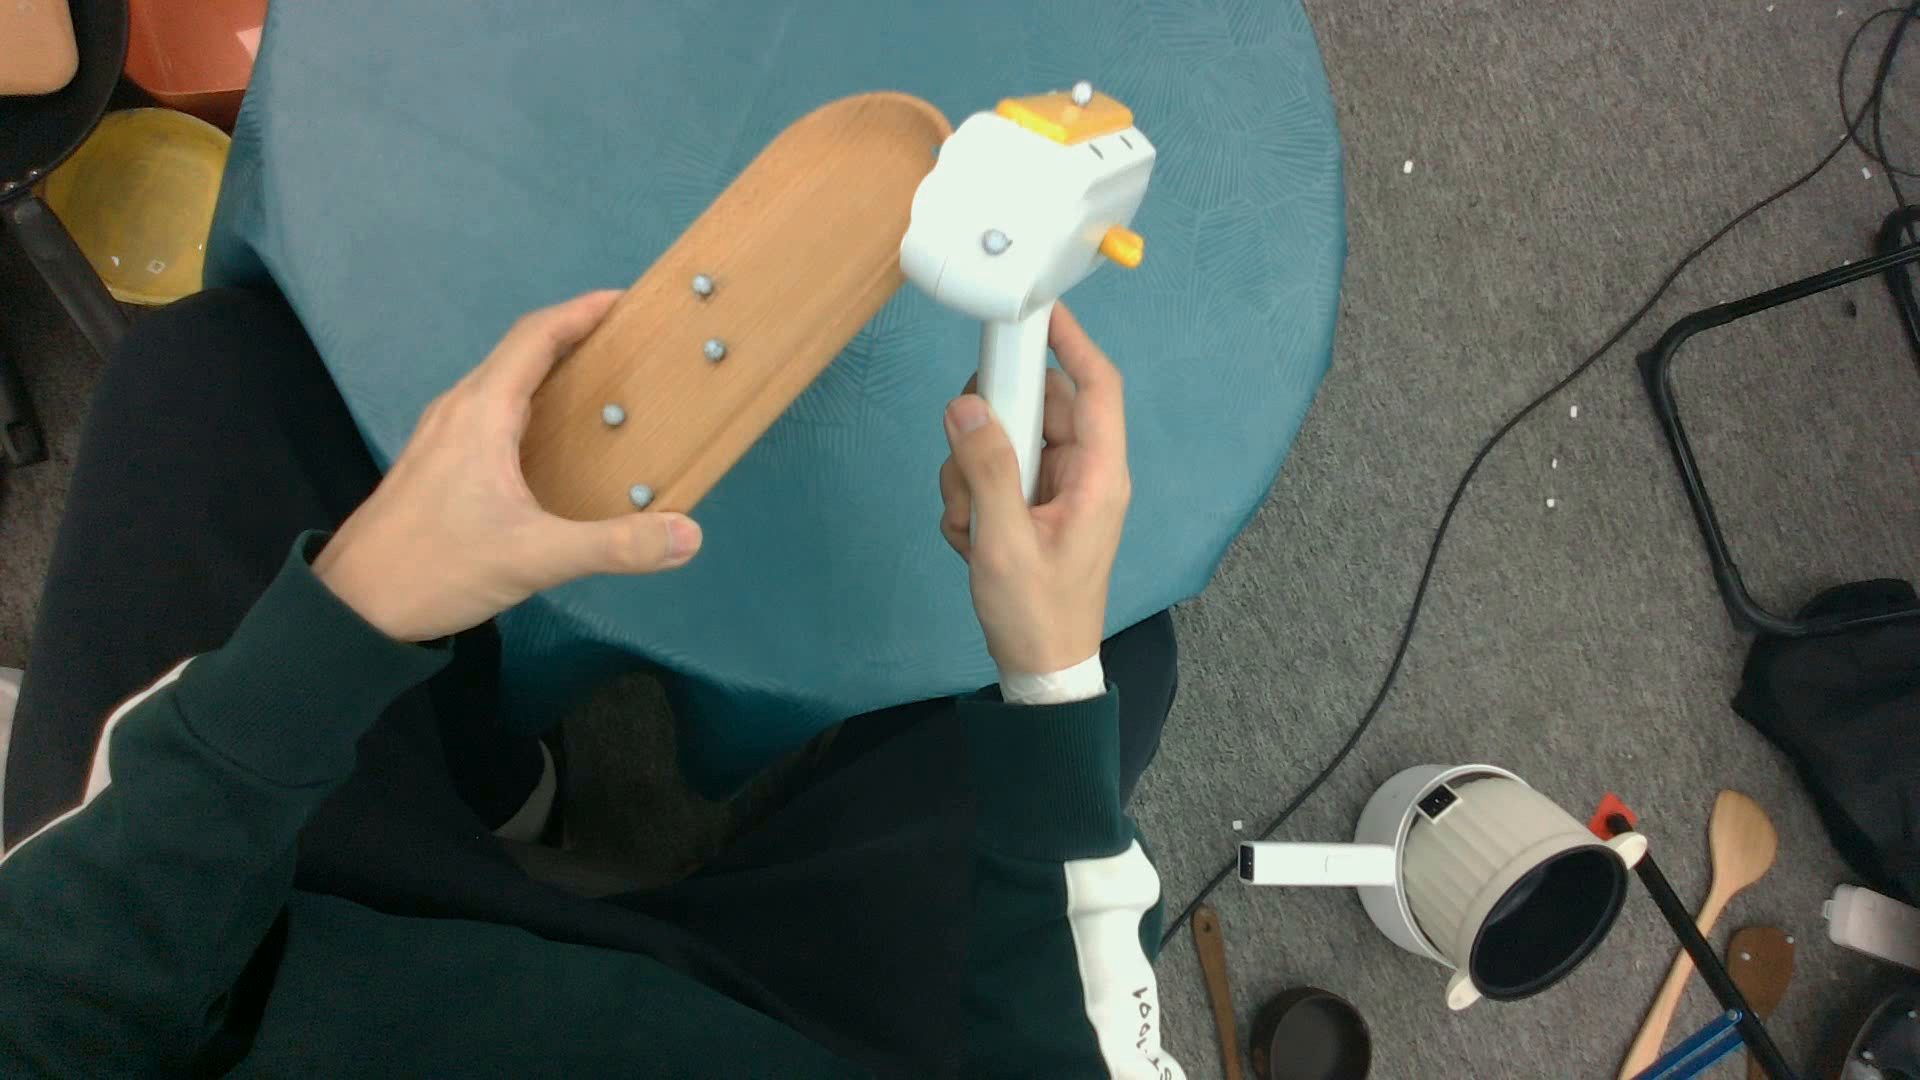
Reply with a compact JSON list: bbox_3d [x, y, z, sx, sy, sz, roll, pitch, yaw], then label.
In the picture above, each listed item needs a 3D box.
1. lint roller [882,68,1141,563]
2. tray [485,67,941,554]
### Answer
[{"bbox_3d":[0.016,-0.082,0.546,0.074,0.193,0.191,19,117,5],"label":"lint roller"},{"bbox_3d":[-0.095,-0.091,0.532,0.231,0.102,0.020,-50,146,-7],"label":"tray"}]
